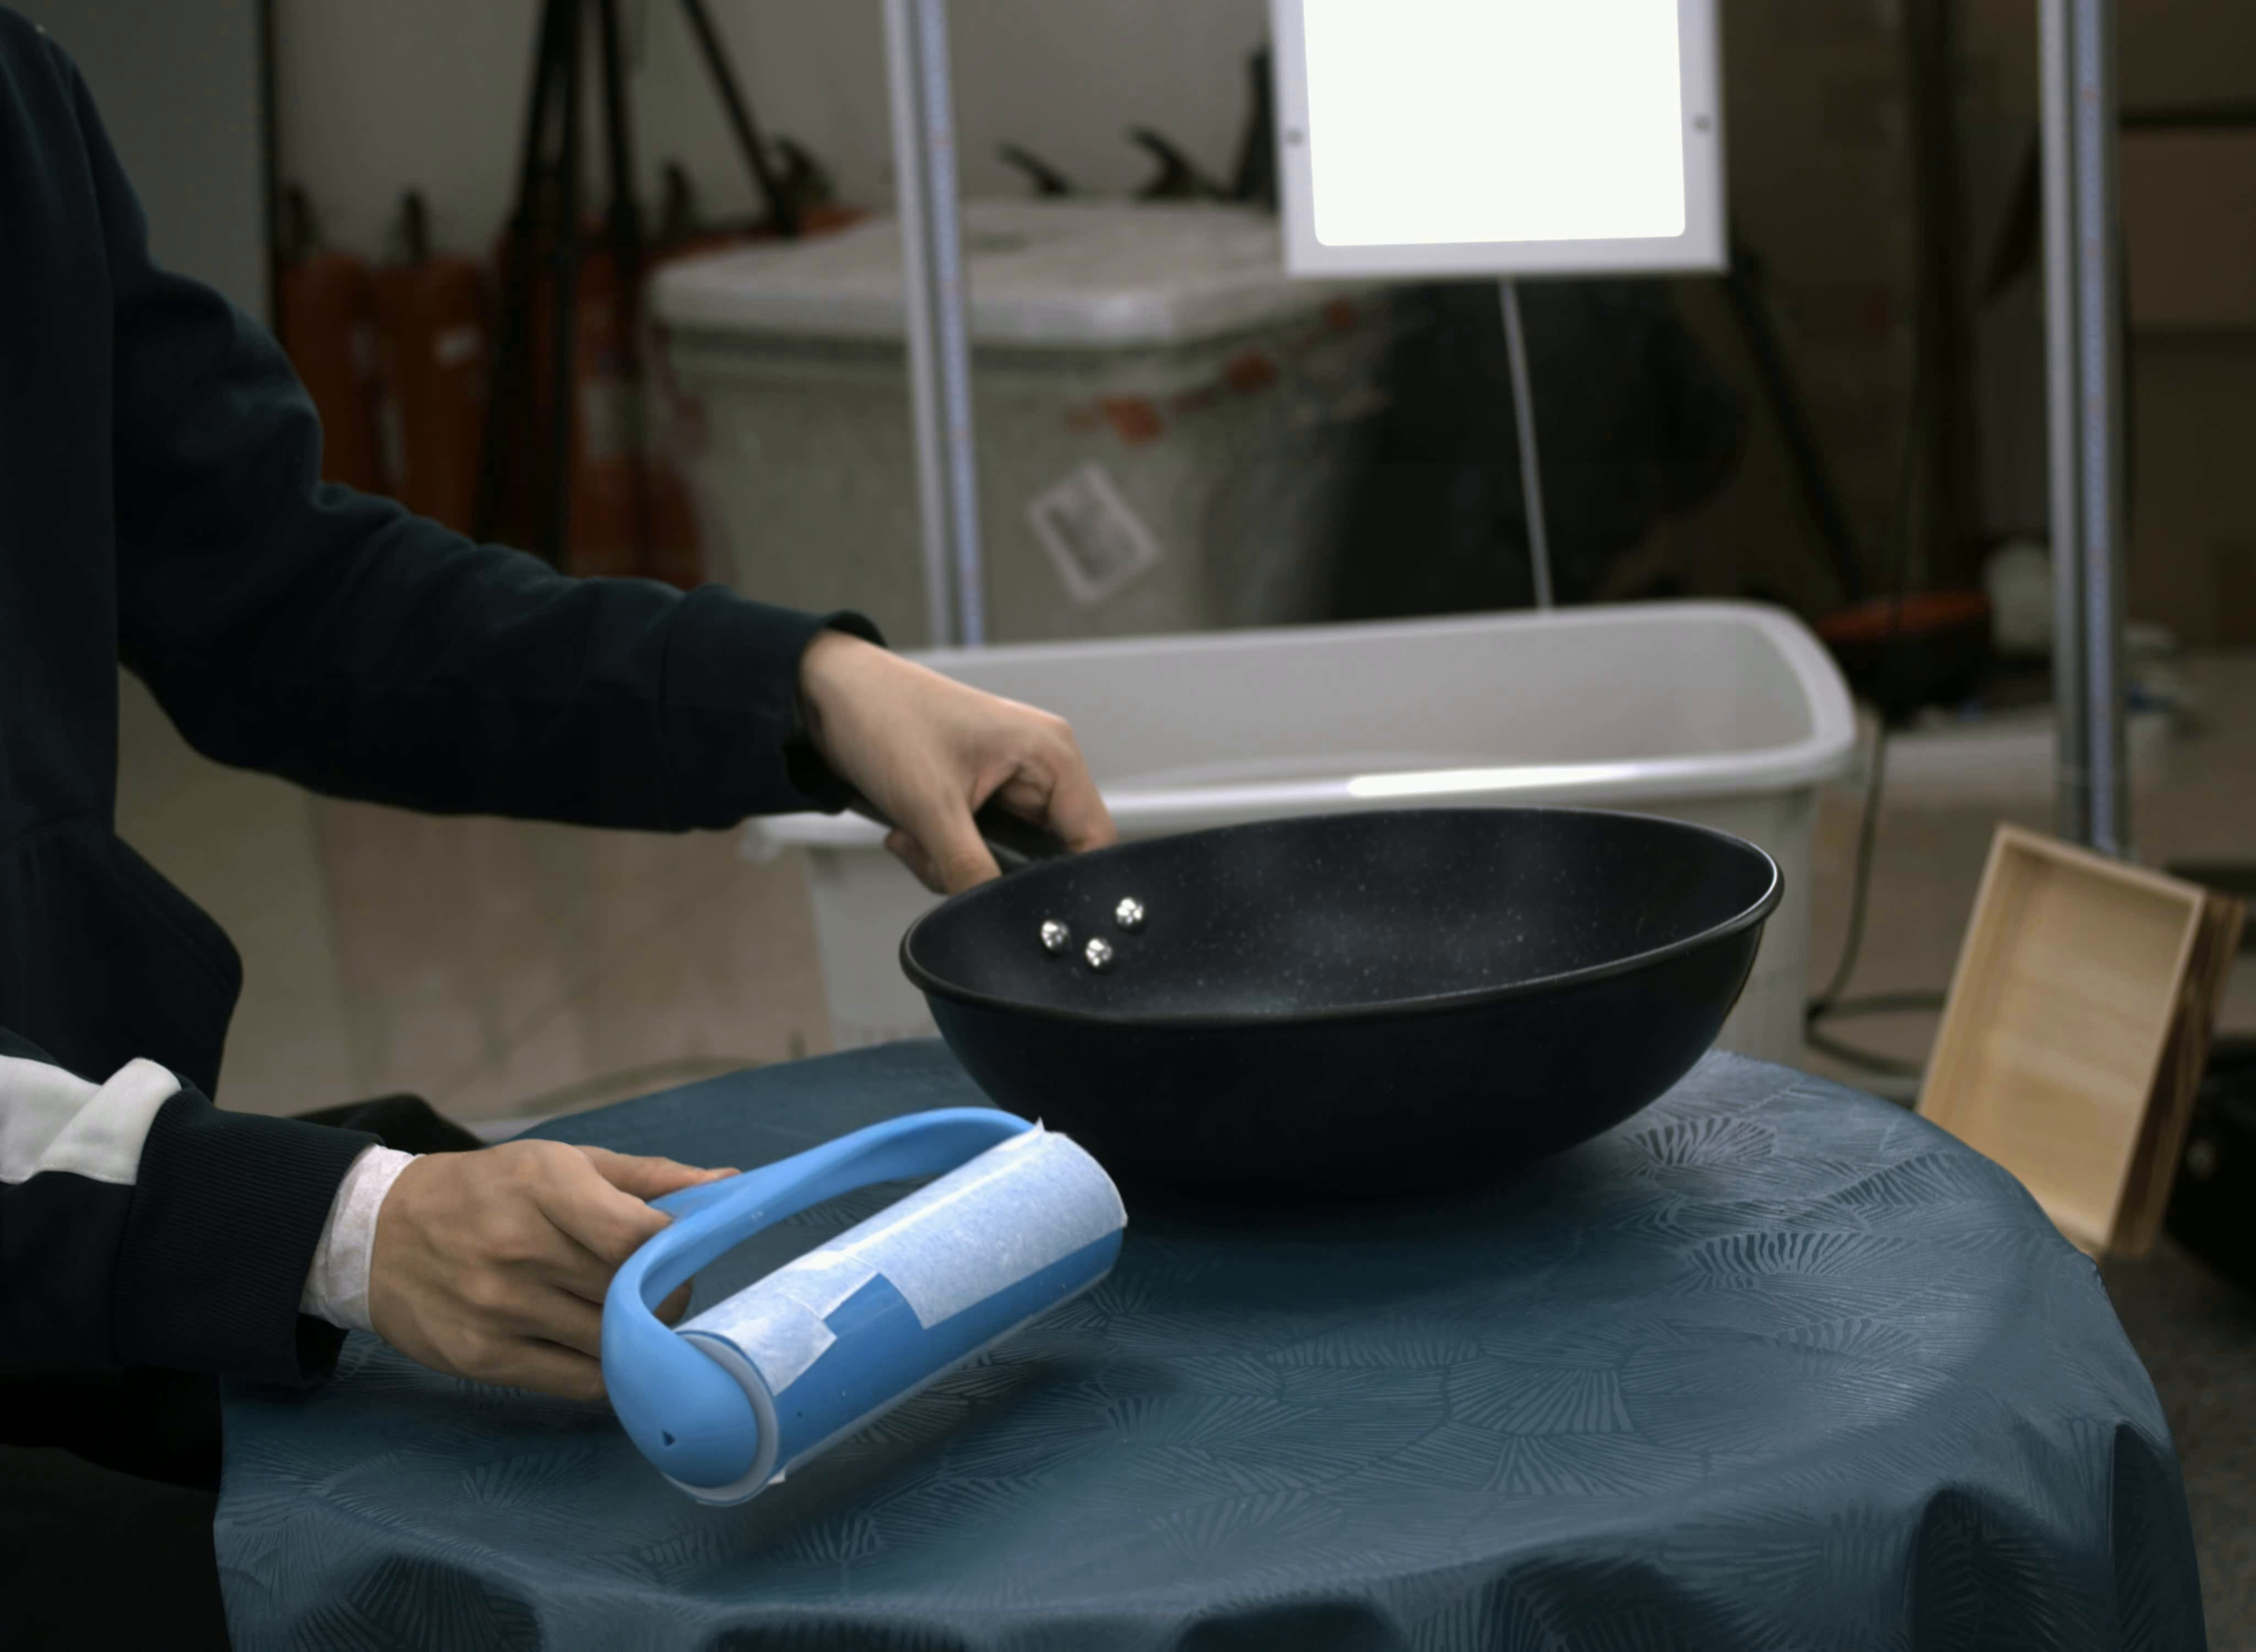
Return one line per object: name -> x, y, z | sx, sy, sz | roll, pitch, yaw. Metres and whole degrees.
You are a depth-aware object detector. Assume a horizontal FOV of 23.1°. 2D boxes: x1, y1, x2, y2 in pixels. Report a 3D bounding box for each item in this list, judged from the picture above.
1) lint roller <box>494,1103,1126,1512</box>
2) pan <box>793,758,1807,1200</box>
lint roller -> -0.122, 0.142, 1.683 | 0.183, 0.068, 0.224 | 2, 19, 29
pan -> 0.029, 0.050, 1.974 | 0.302, 0.112, 0.487 | -12, 13, -37
